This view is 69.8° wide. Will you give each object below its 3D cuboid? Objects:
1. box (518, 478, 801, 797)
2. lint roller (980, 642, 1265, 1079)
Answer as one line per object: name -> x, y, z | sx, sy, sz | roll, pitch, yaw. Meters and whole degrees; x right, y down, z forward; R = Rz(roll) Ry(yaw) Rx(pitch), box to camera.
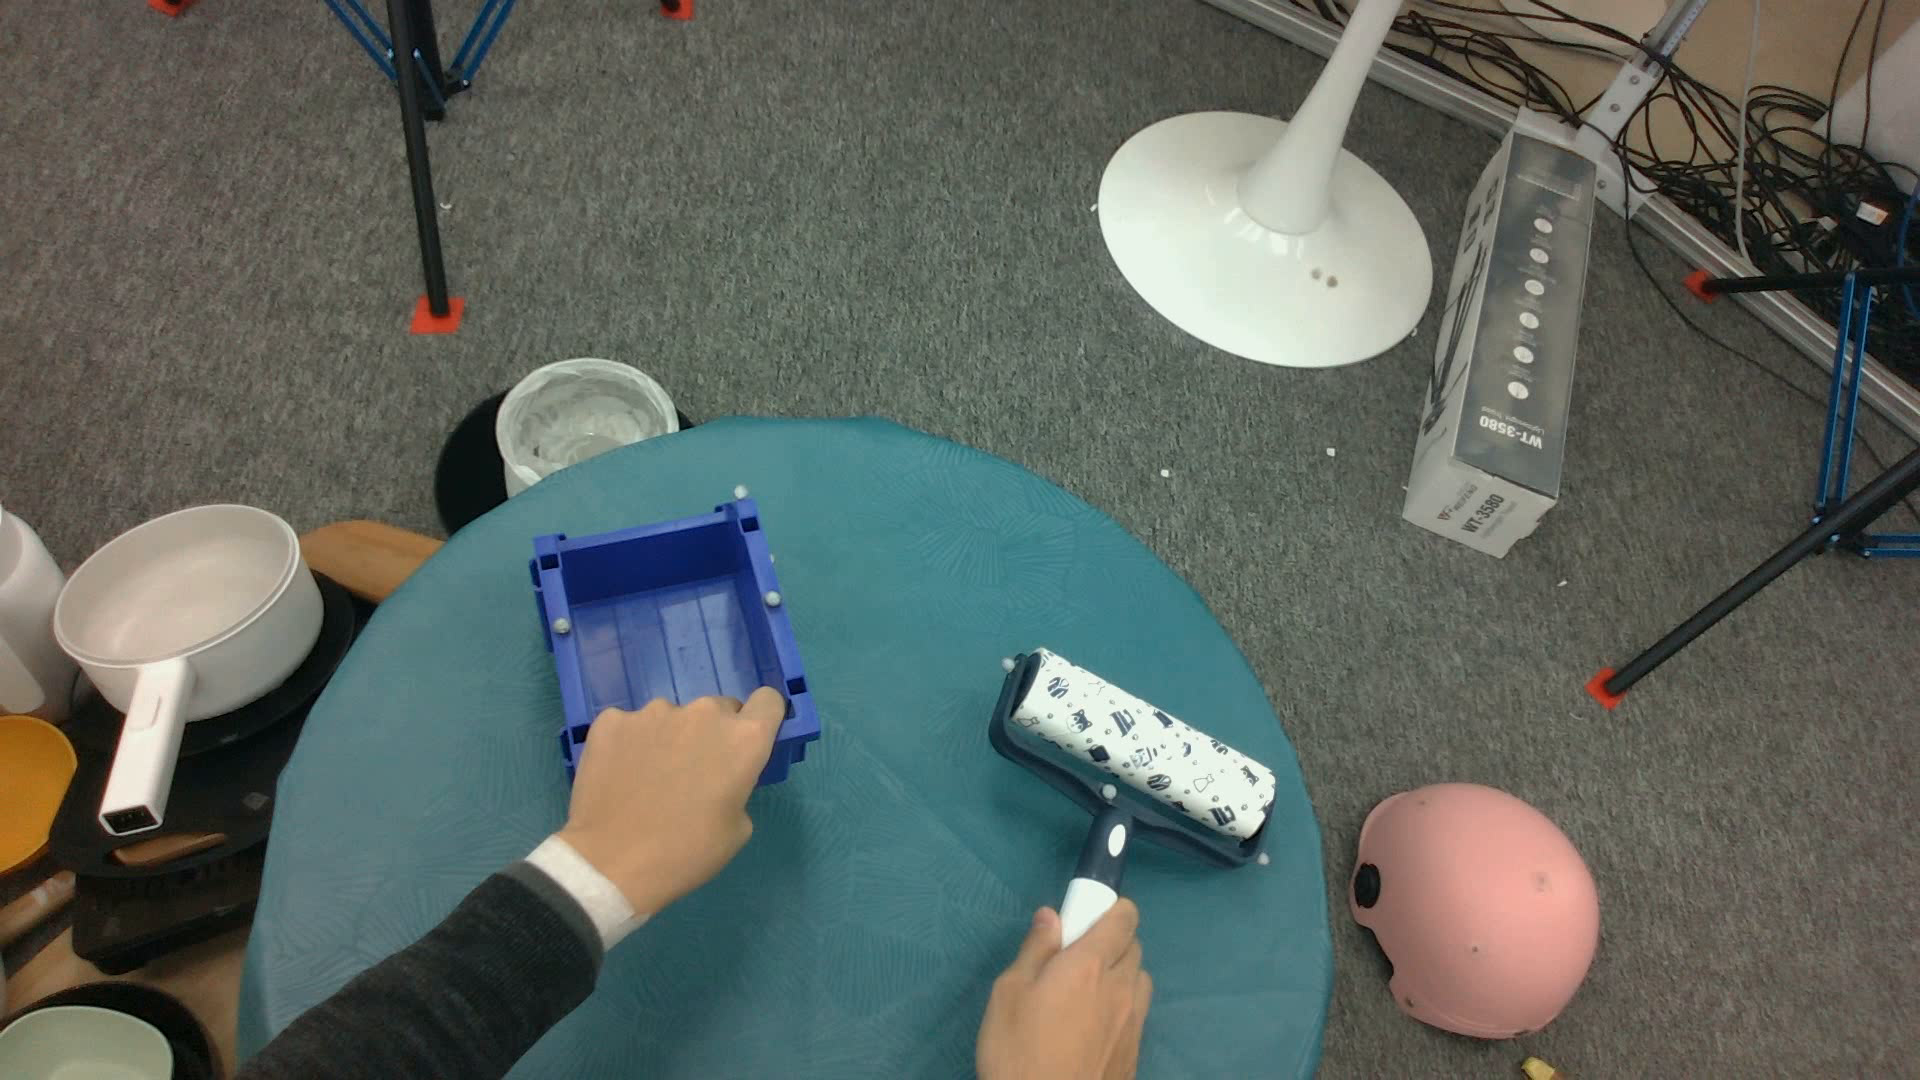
box -> -0.171, 0.046, 0.757 | 0.125, 0.081, 0.180 | -10, 60, -17
lint roller -> 0.068, 0.195, 0.753 | 0.176, 0.050, 0.248 | 29, 57, -10
